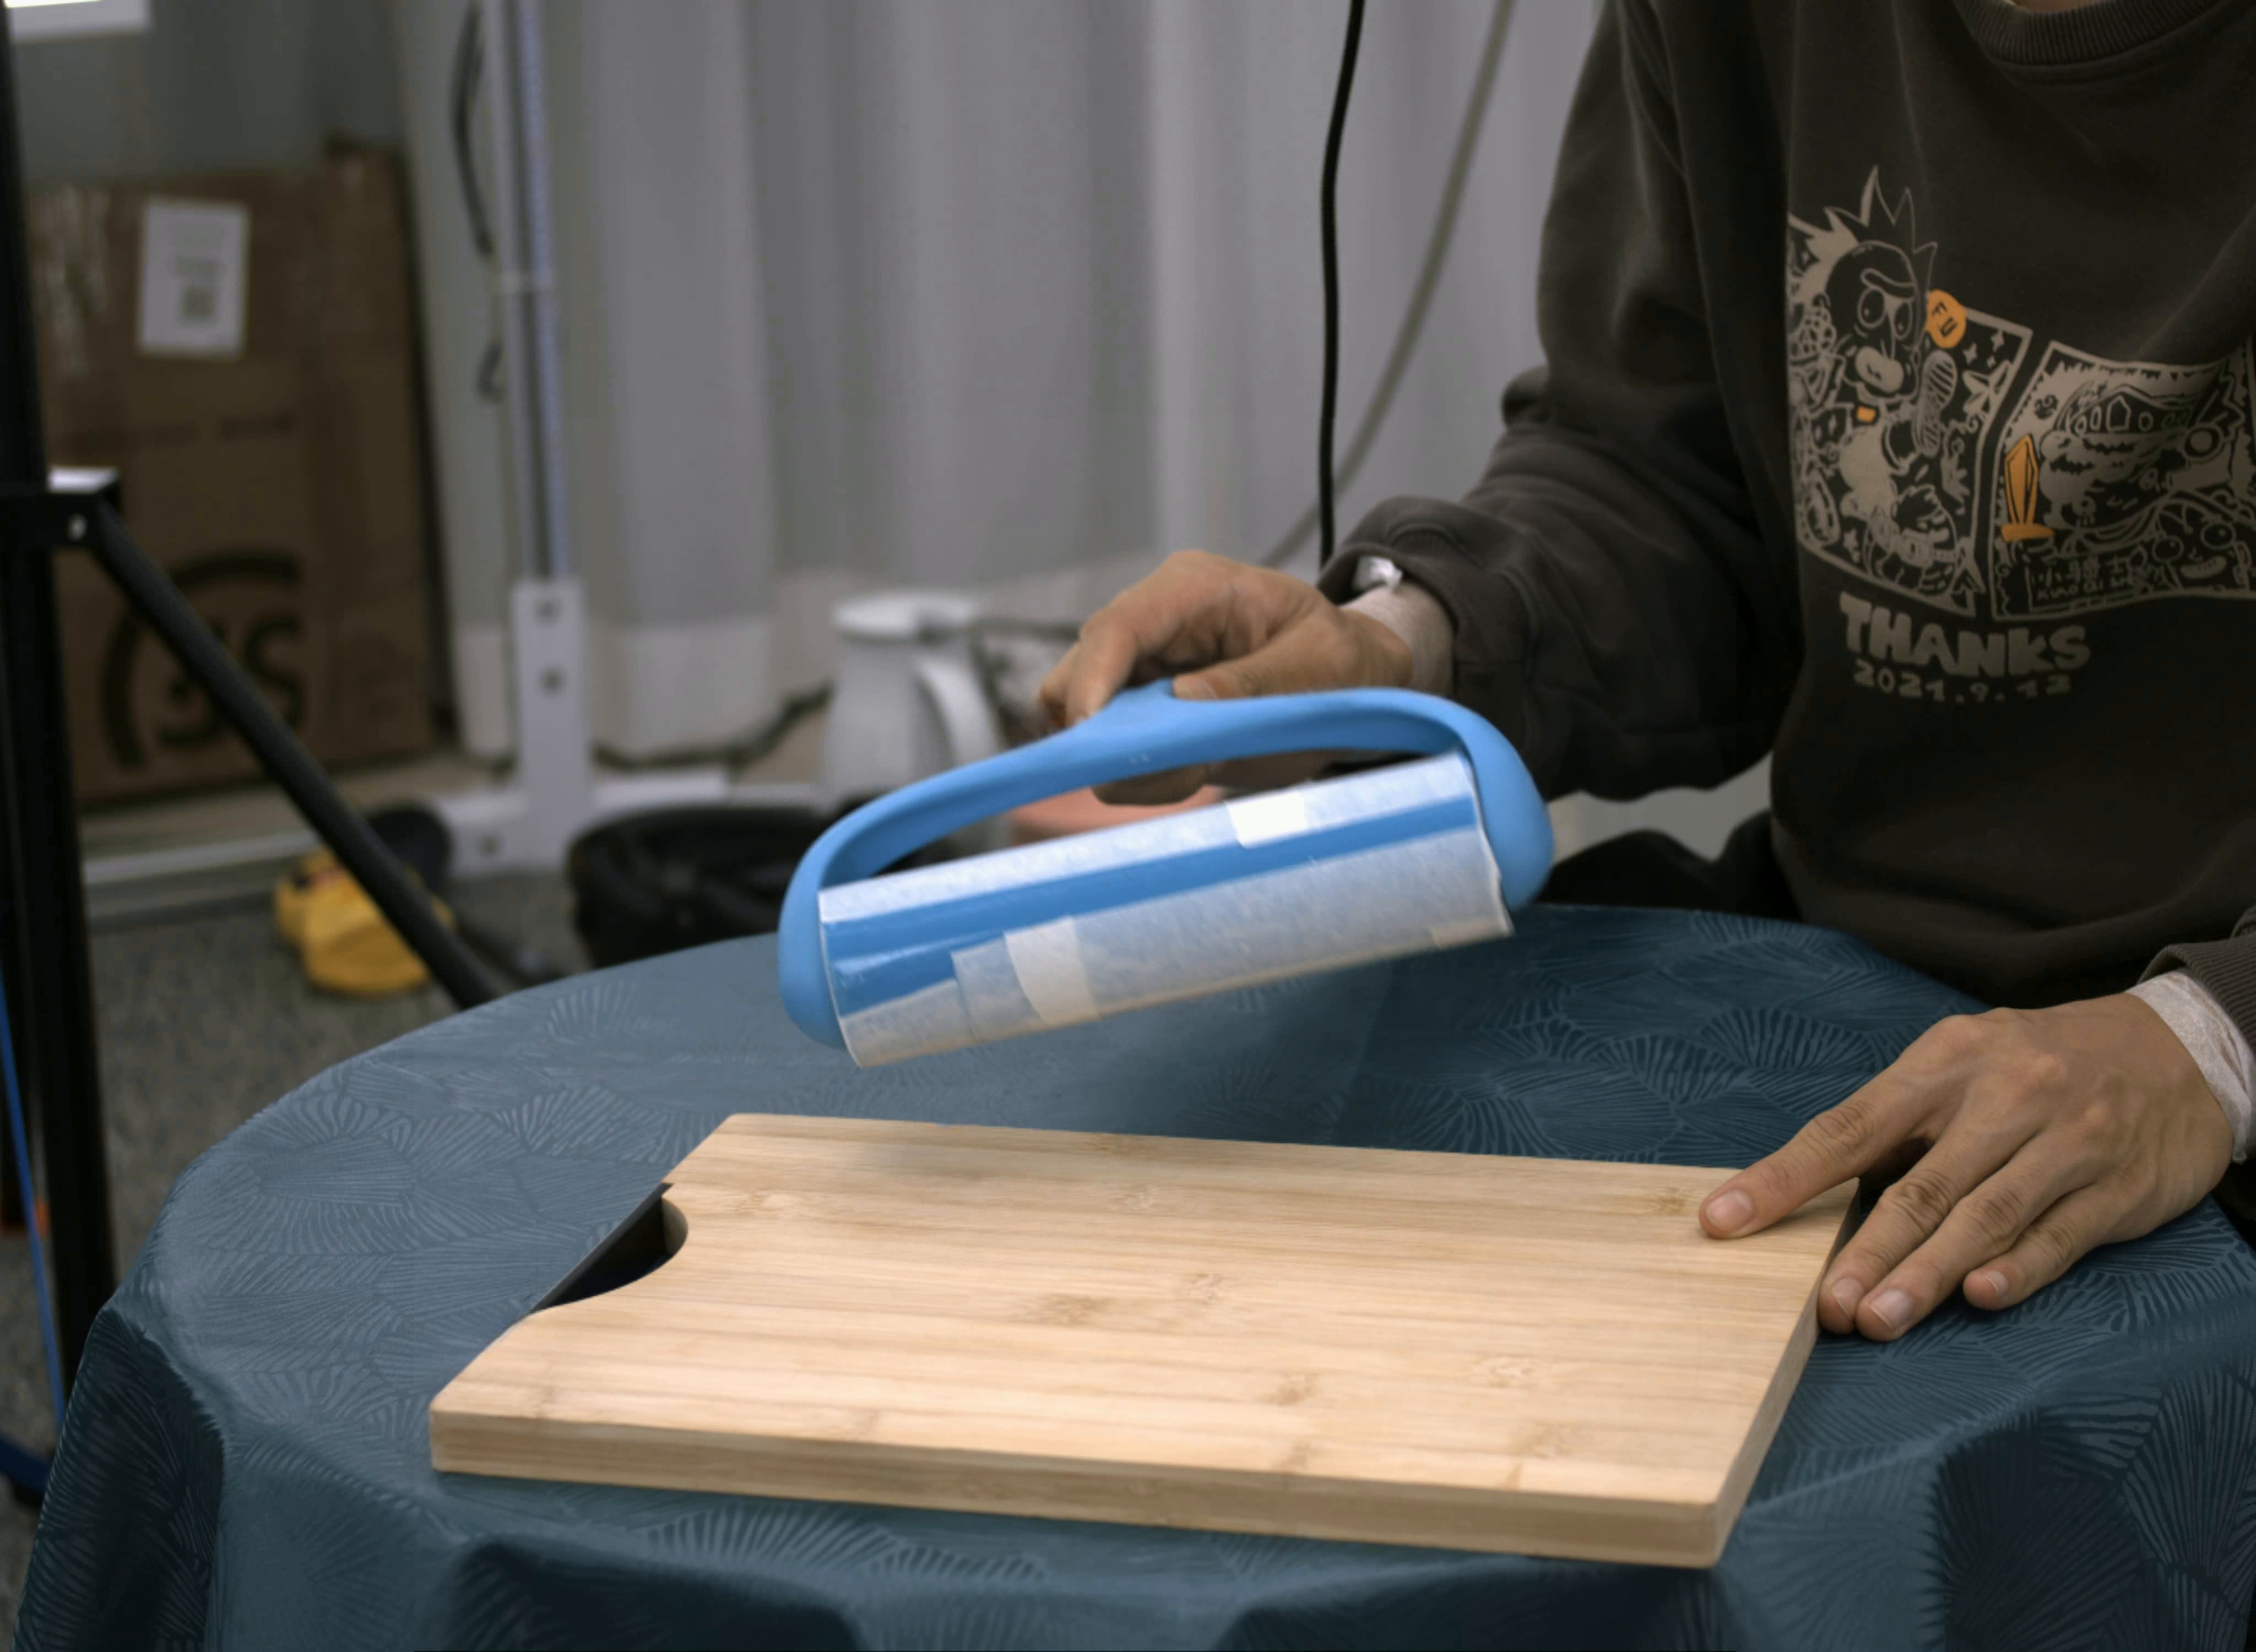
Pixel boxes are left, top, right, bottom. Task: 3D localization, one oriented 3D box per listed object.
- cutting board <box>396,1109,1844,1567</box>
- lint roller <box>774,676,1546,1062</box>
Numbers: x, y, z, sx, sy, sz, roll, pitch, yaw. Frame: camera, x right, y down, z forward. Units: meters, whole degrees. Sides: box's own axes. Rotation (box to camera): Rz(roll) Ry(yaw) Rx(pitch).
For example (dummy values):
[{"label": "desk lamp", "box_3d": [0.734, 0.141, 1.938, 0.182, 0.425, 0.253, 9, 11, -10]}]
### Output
[{"label": "cutting board", "box_3d": [0.006, 0.134, 1.441, 0.352, 0.023, 0.248, 2, 16, 16]}, {"label": "lint roller", "box_3d": [0.005, -0.009, 1.590, 0.229, 0.067, 0.182, -15, 30, 6]}]
